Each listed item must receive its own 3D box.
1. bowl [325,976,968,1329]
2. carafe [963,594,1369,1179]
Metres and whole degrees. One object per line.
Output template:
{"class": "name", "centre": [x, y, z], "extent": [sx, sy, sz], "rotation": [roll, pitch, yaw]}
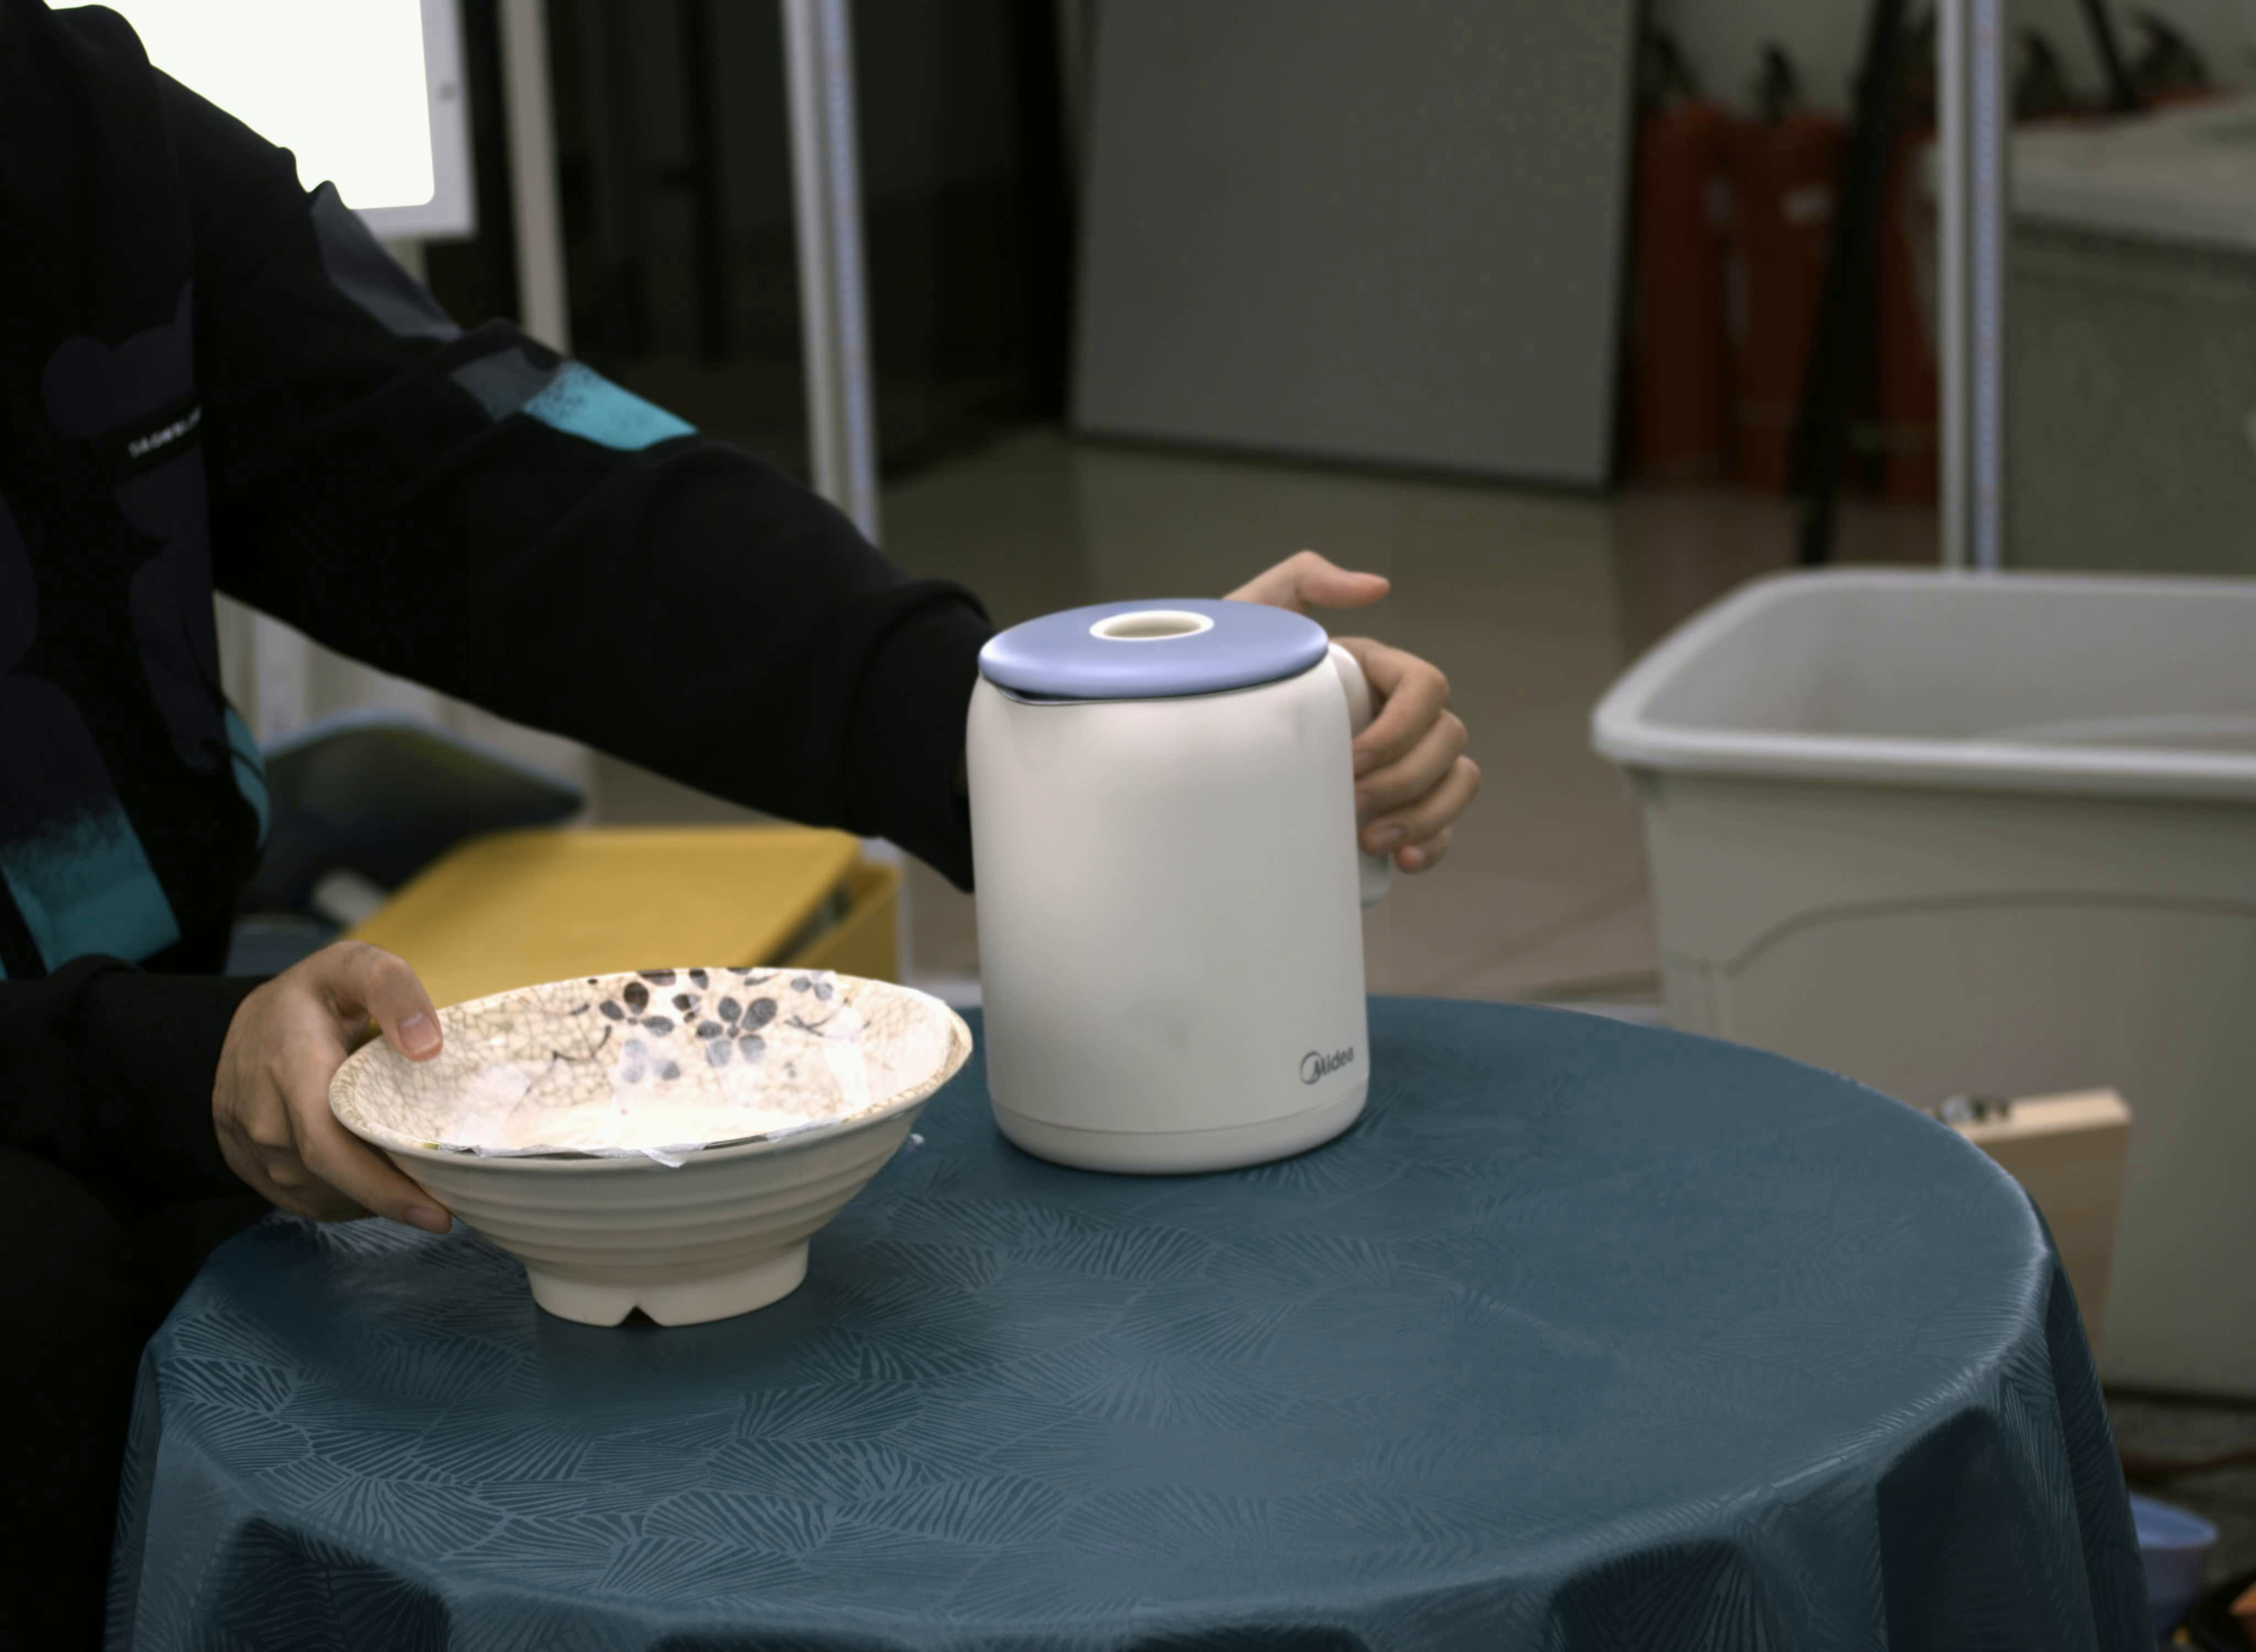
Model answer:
{"class": "bowl", "centre": [-0.147, 0.108, 1.699], "extent": [0.201, 0.079, 0.204], "rotation": [-5, 12, 0]}
{"class": "carafe", "centre": [0.026, 0.015, 1.838], "extent": [0.133, 0.184, 0.187], "rotation": [8, 15, 37]}
